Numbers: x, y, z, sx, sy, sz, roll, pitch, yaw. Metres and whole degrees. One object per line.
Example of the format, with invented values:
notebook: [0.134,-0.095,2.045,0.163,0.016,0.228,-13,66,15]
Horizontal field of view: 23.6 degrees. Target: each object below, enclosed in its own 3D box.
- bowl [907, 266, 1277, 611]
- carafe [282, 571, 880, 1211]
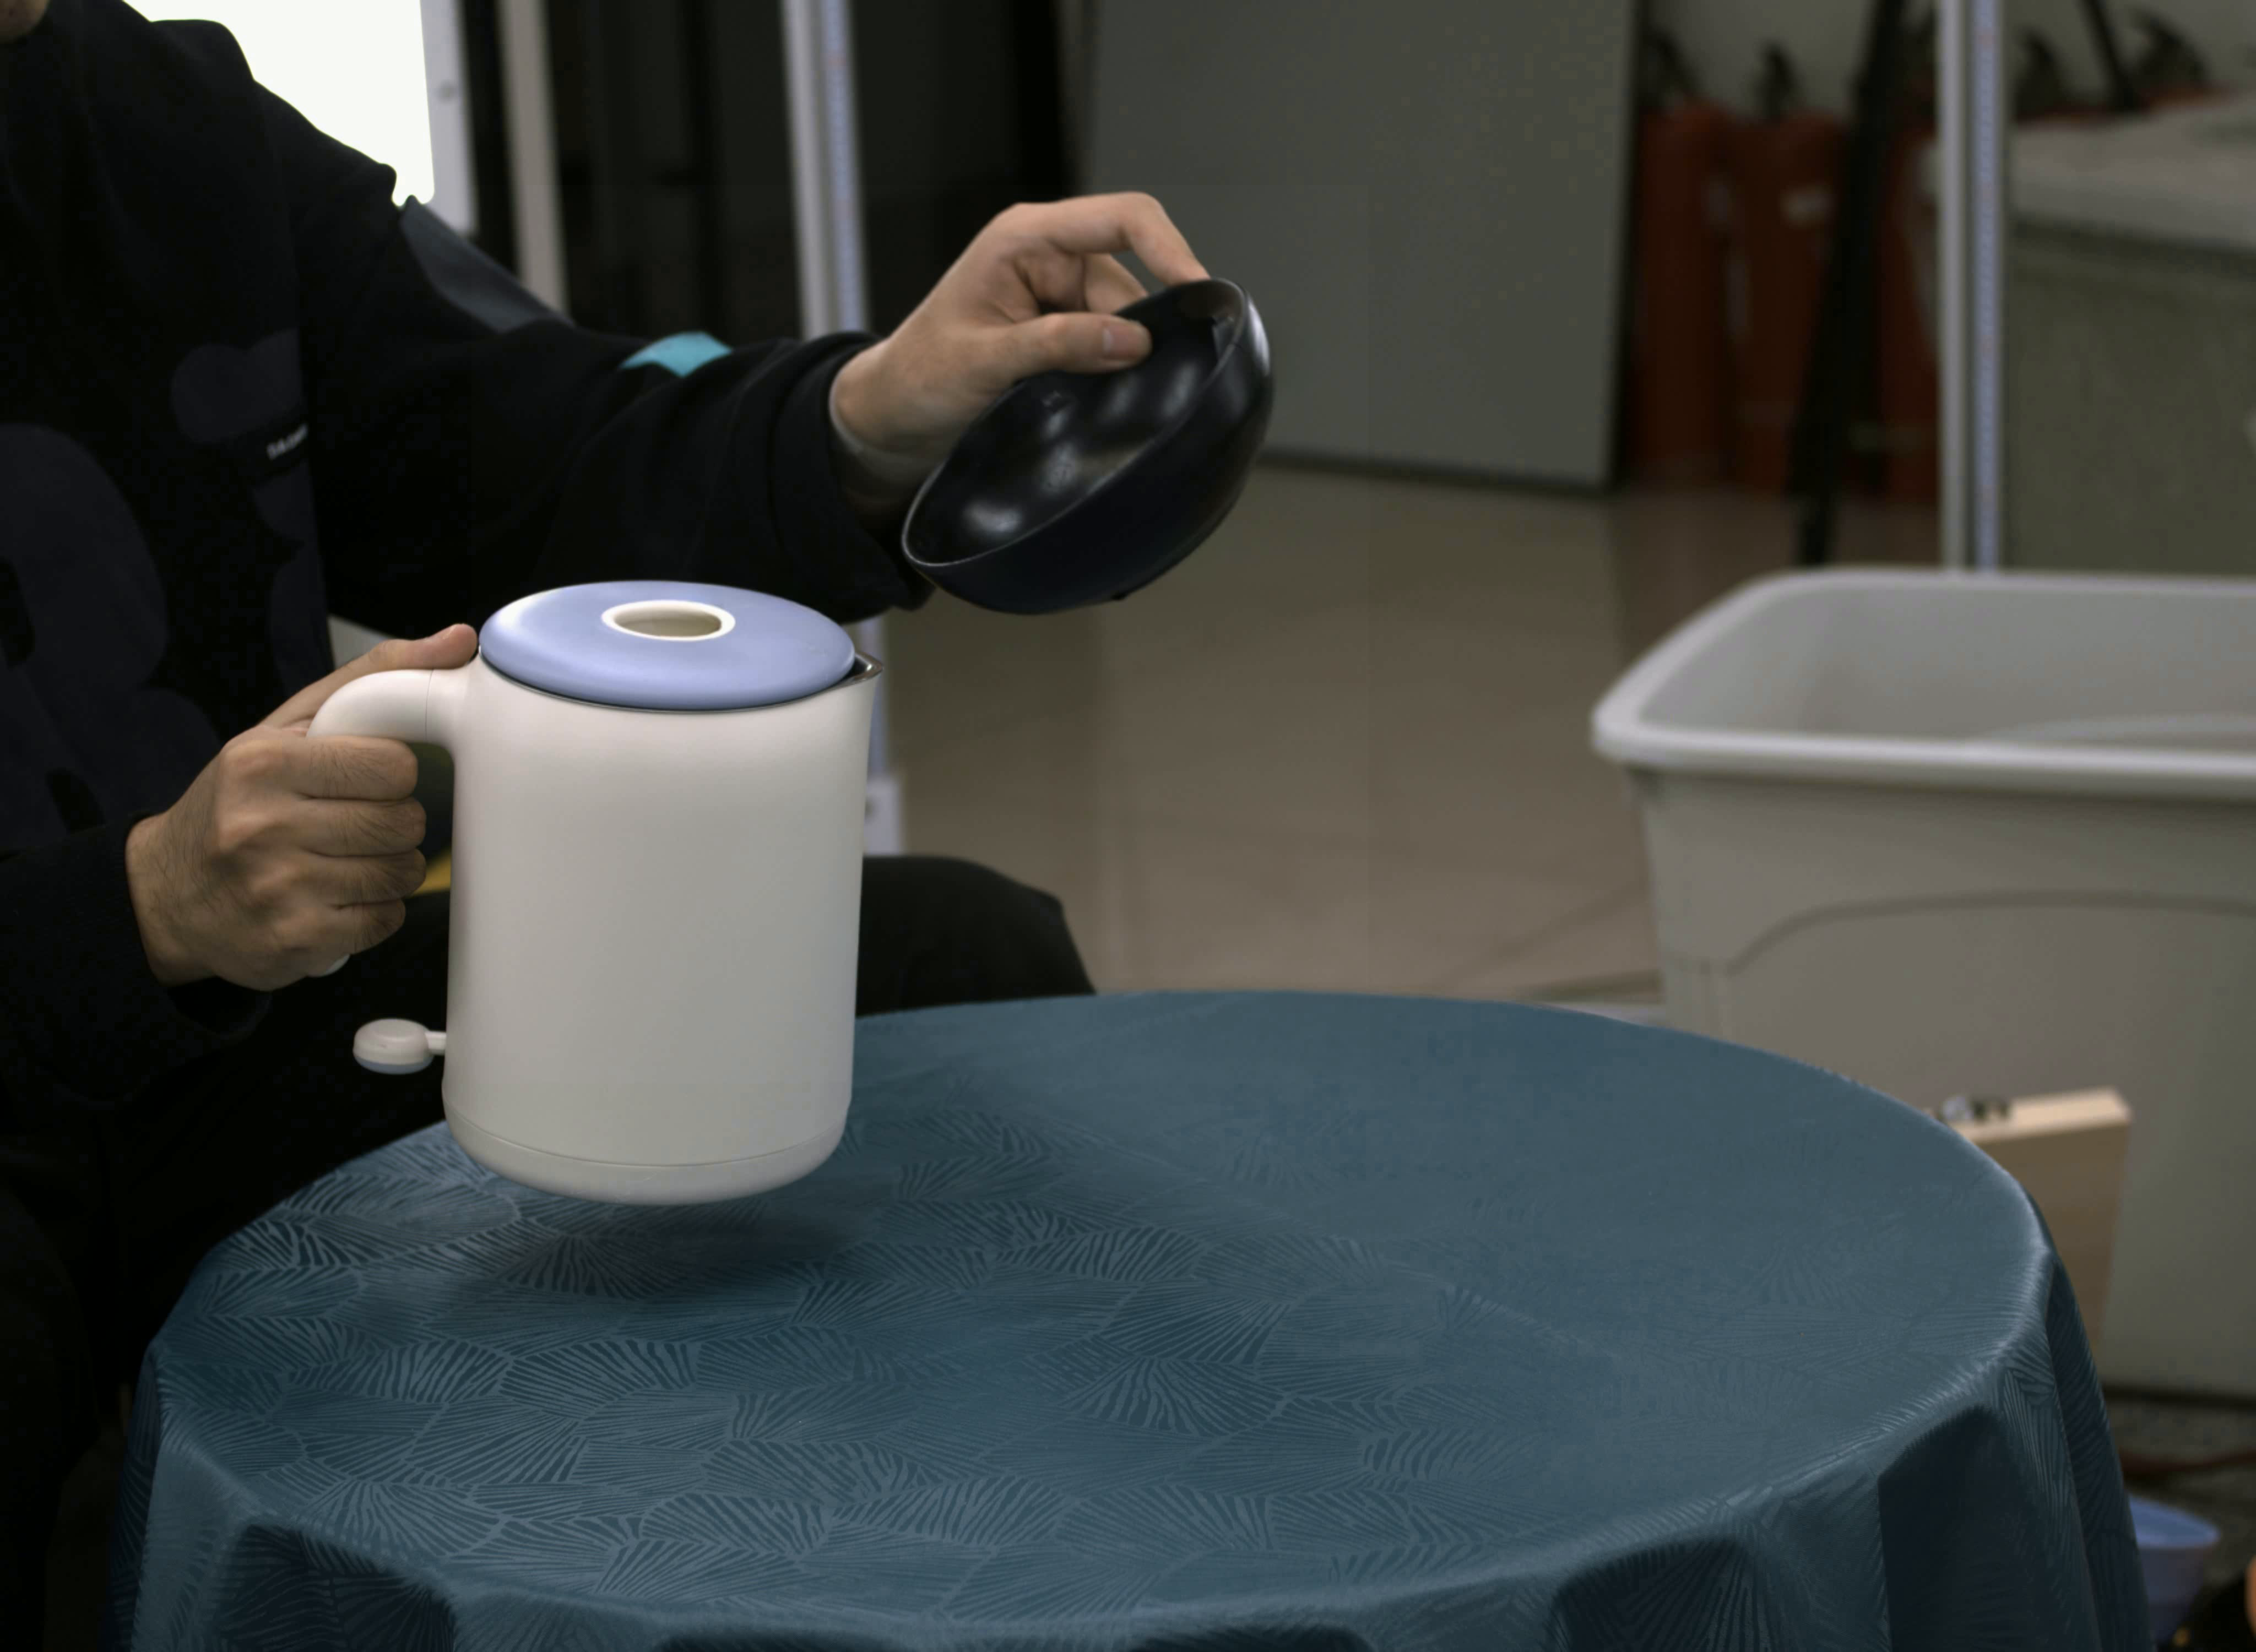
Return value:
bowl: [-0.002,-0.114,1.720,0.140,0.049,0.140,-36,20,14]
carafe: [-0.172,0.019,1.709,0.188,0.184,0.132,0,17,0]
